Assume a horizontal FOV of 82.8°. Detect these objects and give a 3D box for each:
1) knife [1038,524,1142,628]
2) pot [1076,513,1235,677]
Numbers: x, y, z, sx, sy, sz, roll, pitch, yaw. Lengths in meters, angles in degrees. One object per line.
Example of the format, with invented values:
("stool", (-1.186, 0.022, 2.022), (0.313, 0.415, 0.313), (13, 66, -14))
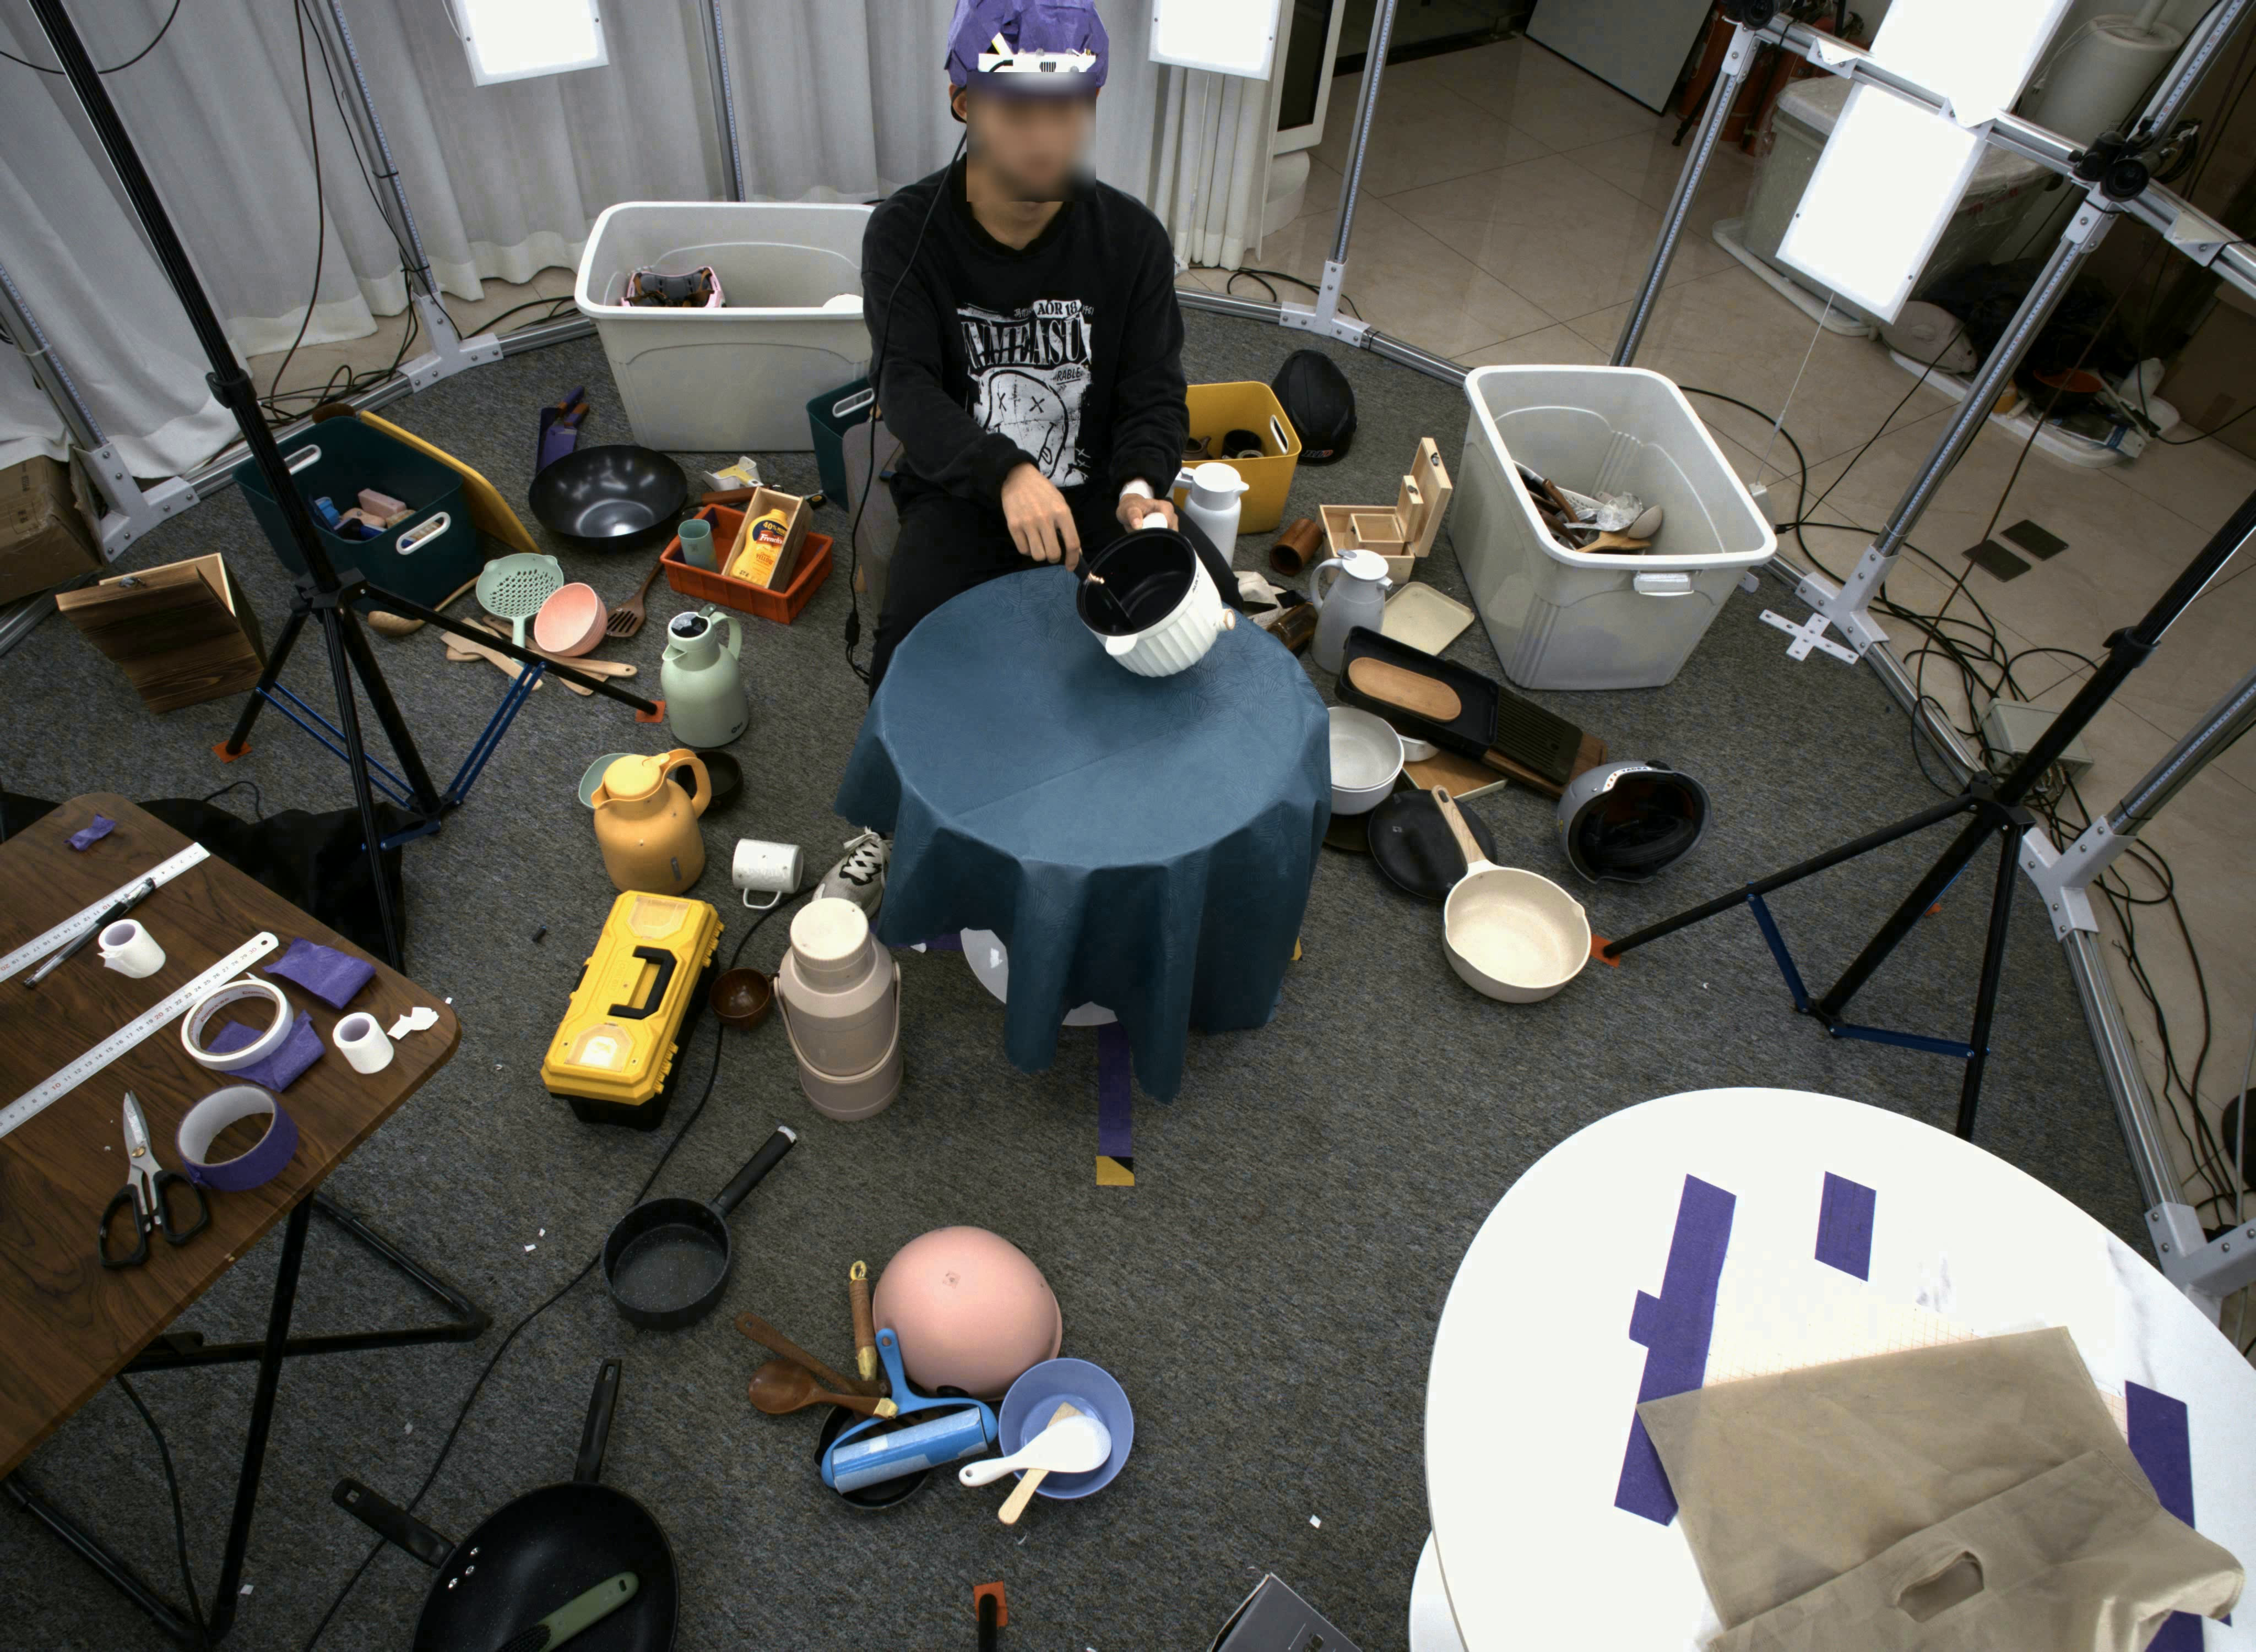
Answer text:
("knife", (-0.042, -0.325, 1.738), (0.026, 0.221, 0.017), (-43, 29, 6))
("pot", (0.043, -0.309, 1.810), (0.191, 0.140, 0.245), (-3, 61, 33))
